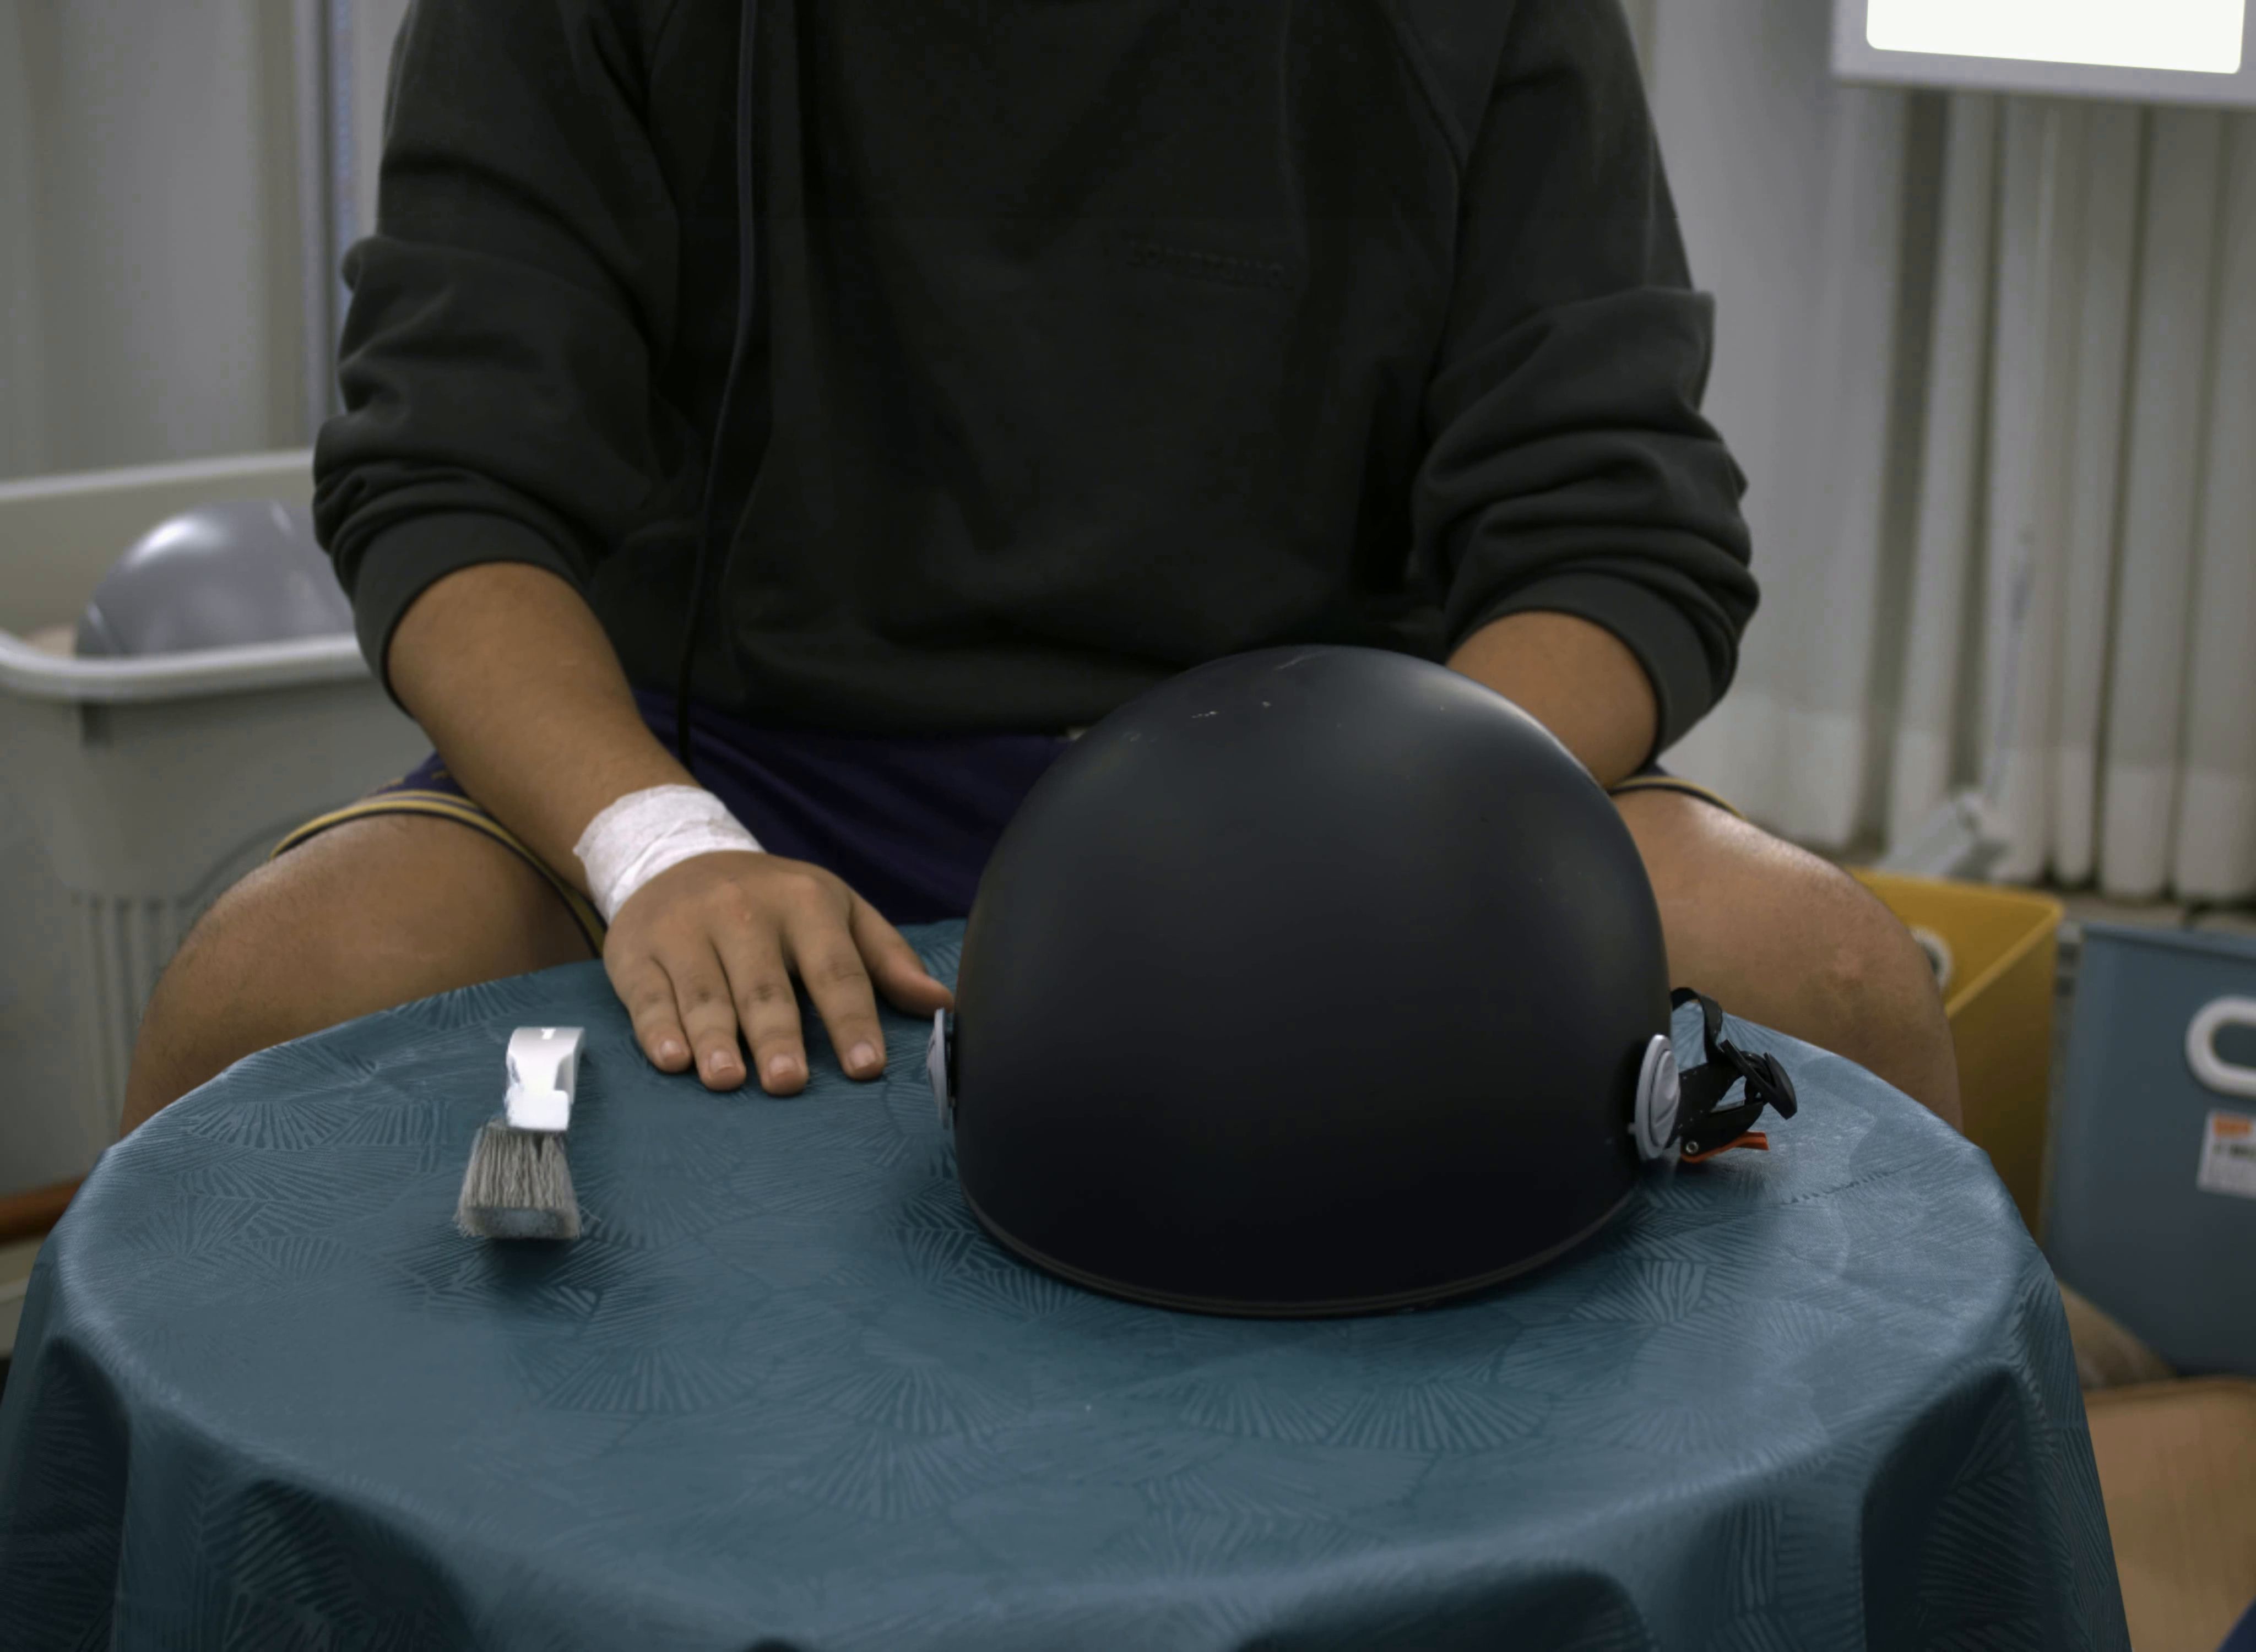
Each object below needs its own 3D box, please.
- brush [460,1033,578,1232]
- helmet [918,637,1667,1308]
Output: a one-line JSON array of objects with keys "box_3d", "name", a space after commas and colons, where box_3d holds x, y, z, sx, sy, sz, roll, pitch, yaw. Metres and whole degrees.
[{"box_3d": [-0.186, 0.095, 1.638, 0.034, 0.050, 0.243, -1, 2, -4], "name": "brush"}, {"box_3d": [0.054, 0.032, 1.620, 0.228, 0.168, 0.272, 2, 18, 11], "name": "helmet"}]
